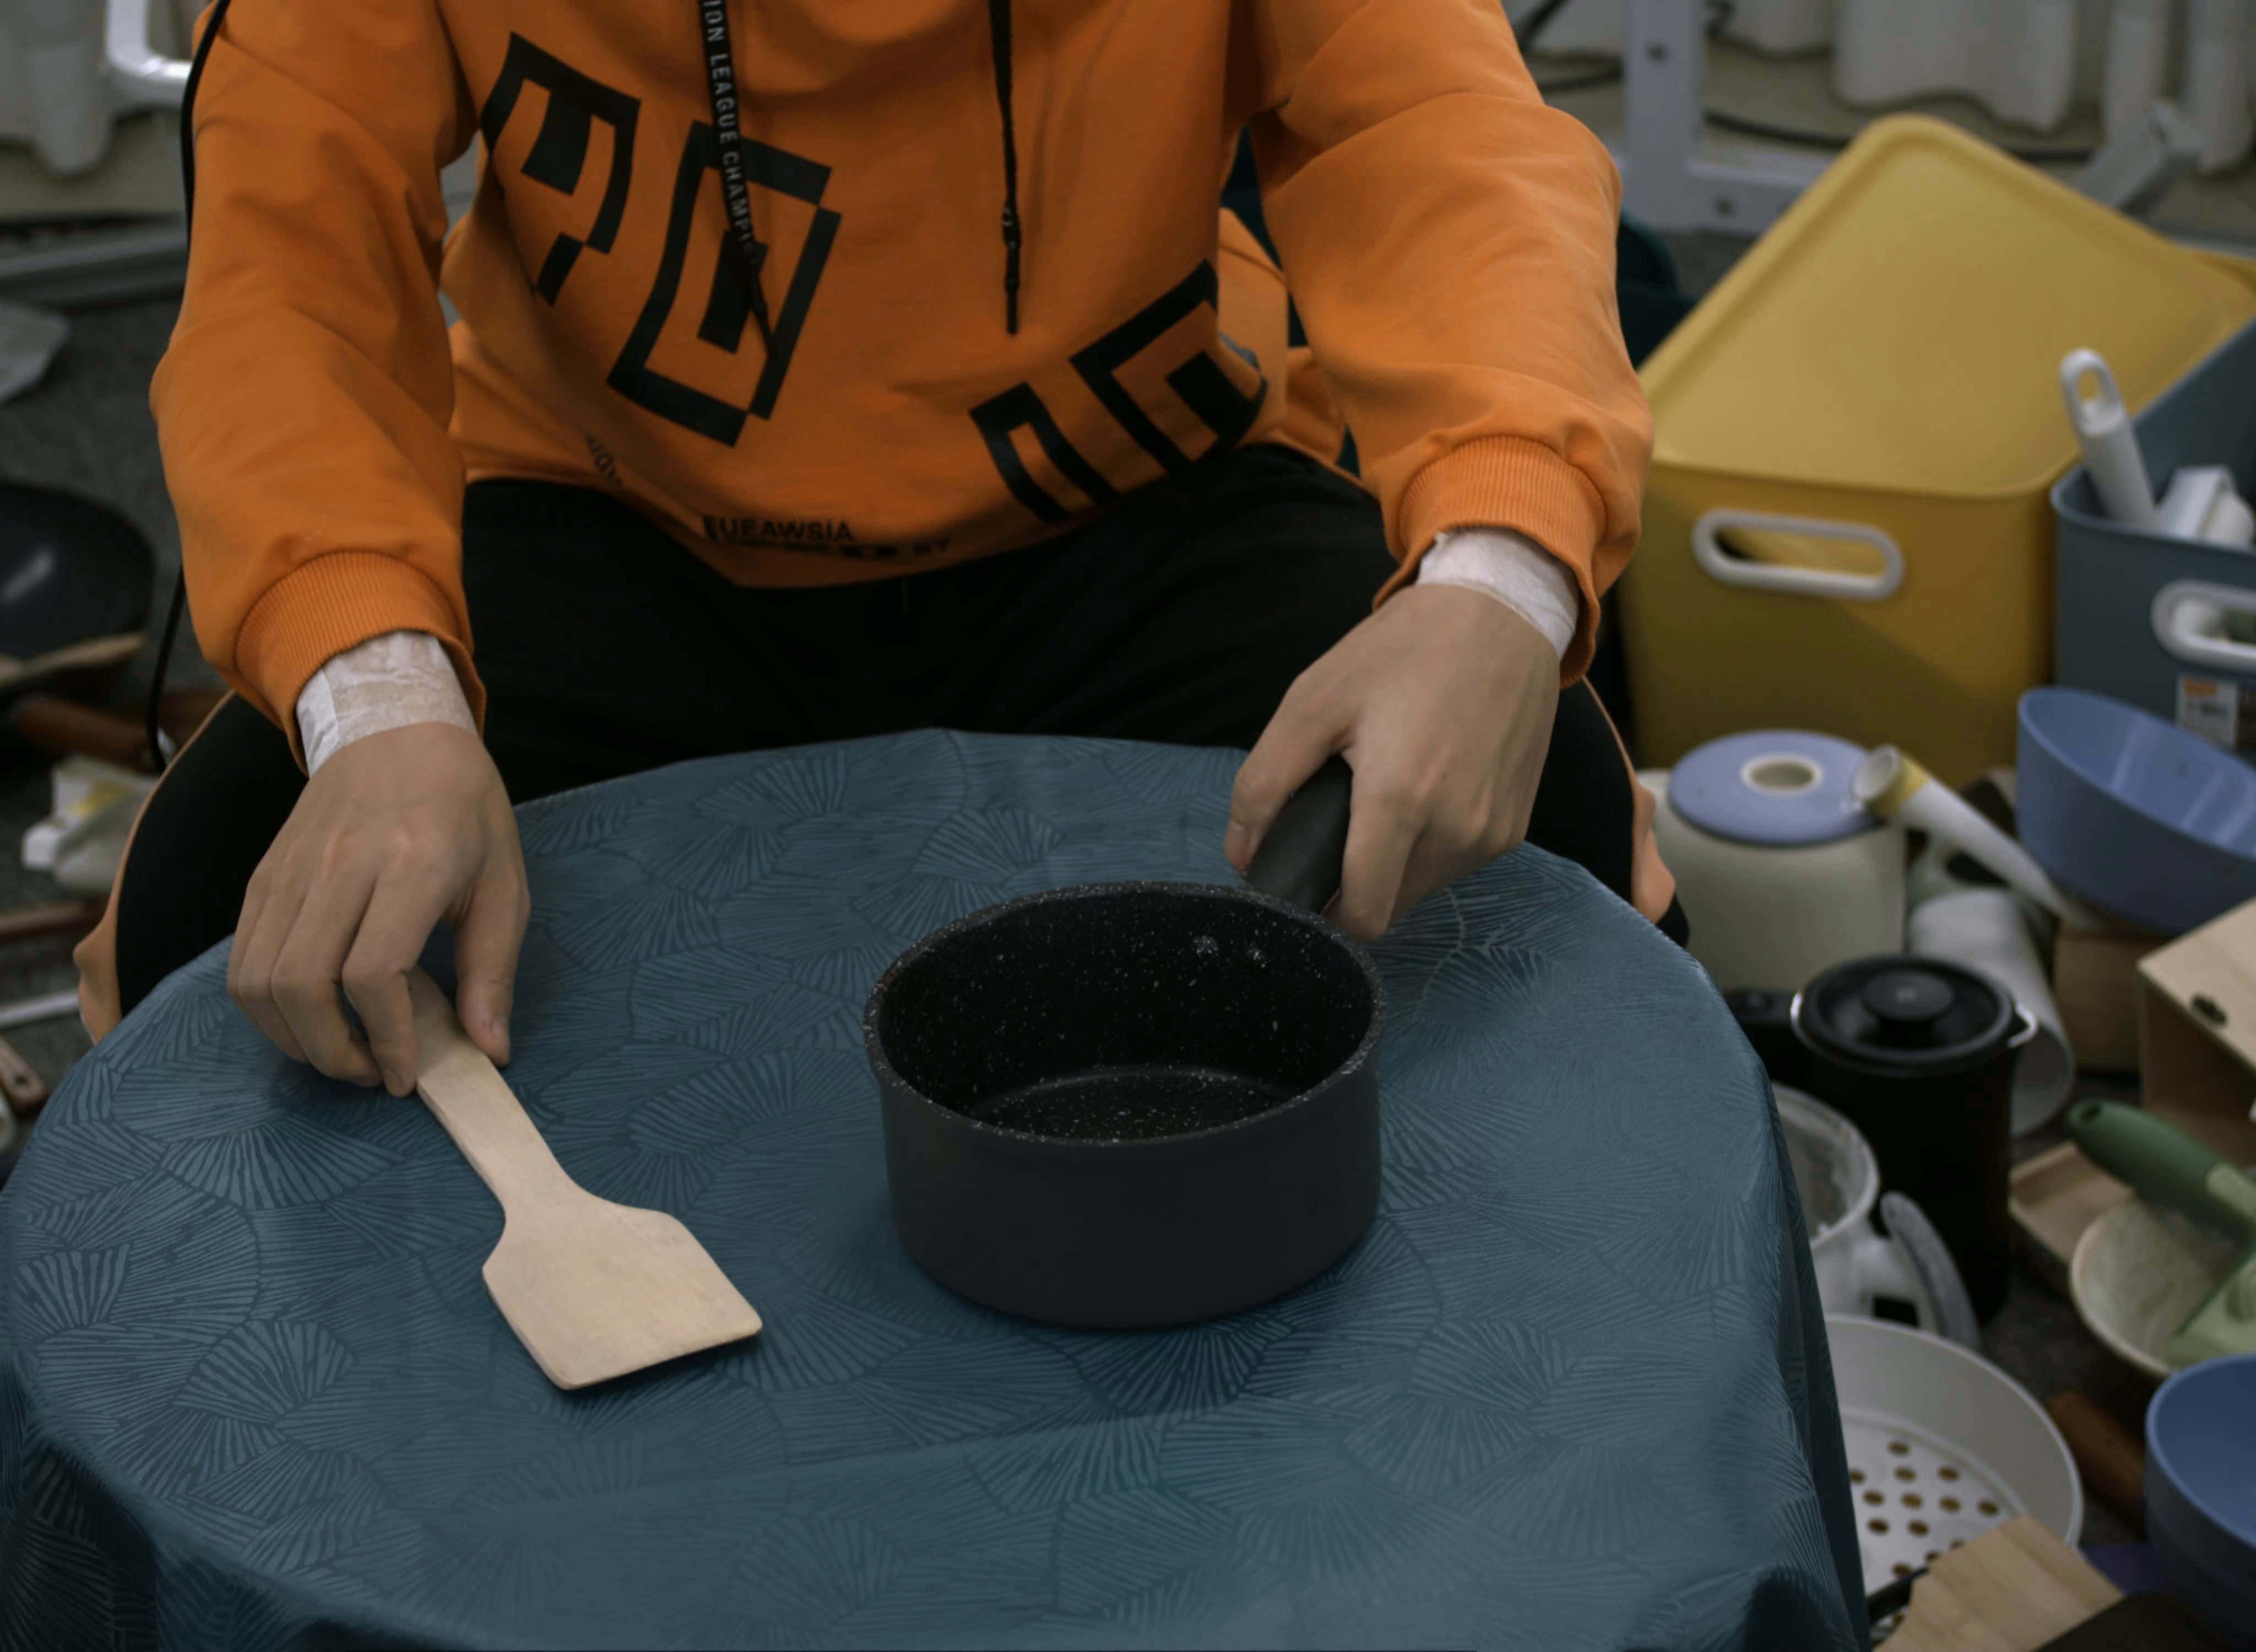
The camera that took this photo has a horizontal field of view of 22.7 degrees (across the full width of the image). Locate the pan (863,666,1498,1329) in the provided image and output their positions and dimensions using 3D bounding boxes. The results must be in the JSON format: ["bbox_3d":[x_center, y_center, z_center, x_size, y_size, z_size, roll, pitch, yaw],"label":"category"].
[{"bbox_3d":[0.039,0.054,1.899,0.171,0.085,0.334,12,33,26],"label":"pan"}]

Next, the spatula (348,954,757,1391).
[{"bbox_3d":[-0.209,0.111,1.892,0.072,0.010,0.295,-17,31,-19],"label":"spatula"}]
